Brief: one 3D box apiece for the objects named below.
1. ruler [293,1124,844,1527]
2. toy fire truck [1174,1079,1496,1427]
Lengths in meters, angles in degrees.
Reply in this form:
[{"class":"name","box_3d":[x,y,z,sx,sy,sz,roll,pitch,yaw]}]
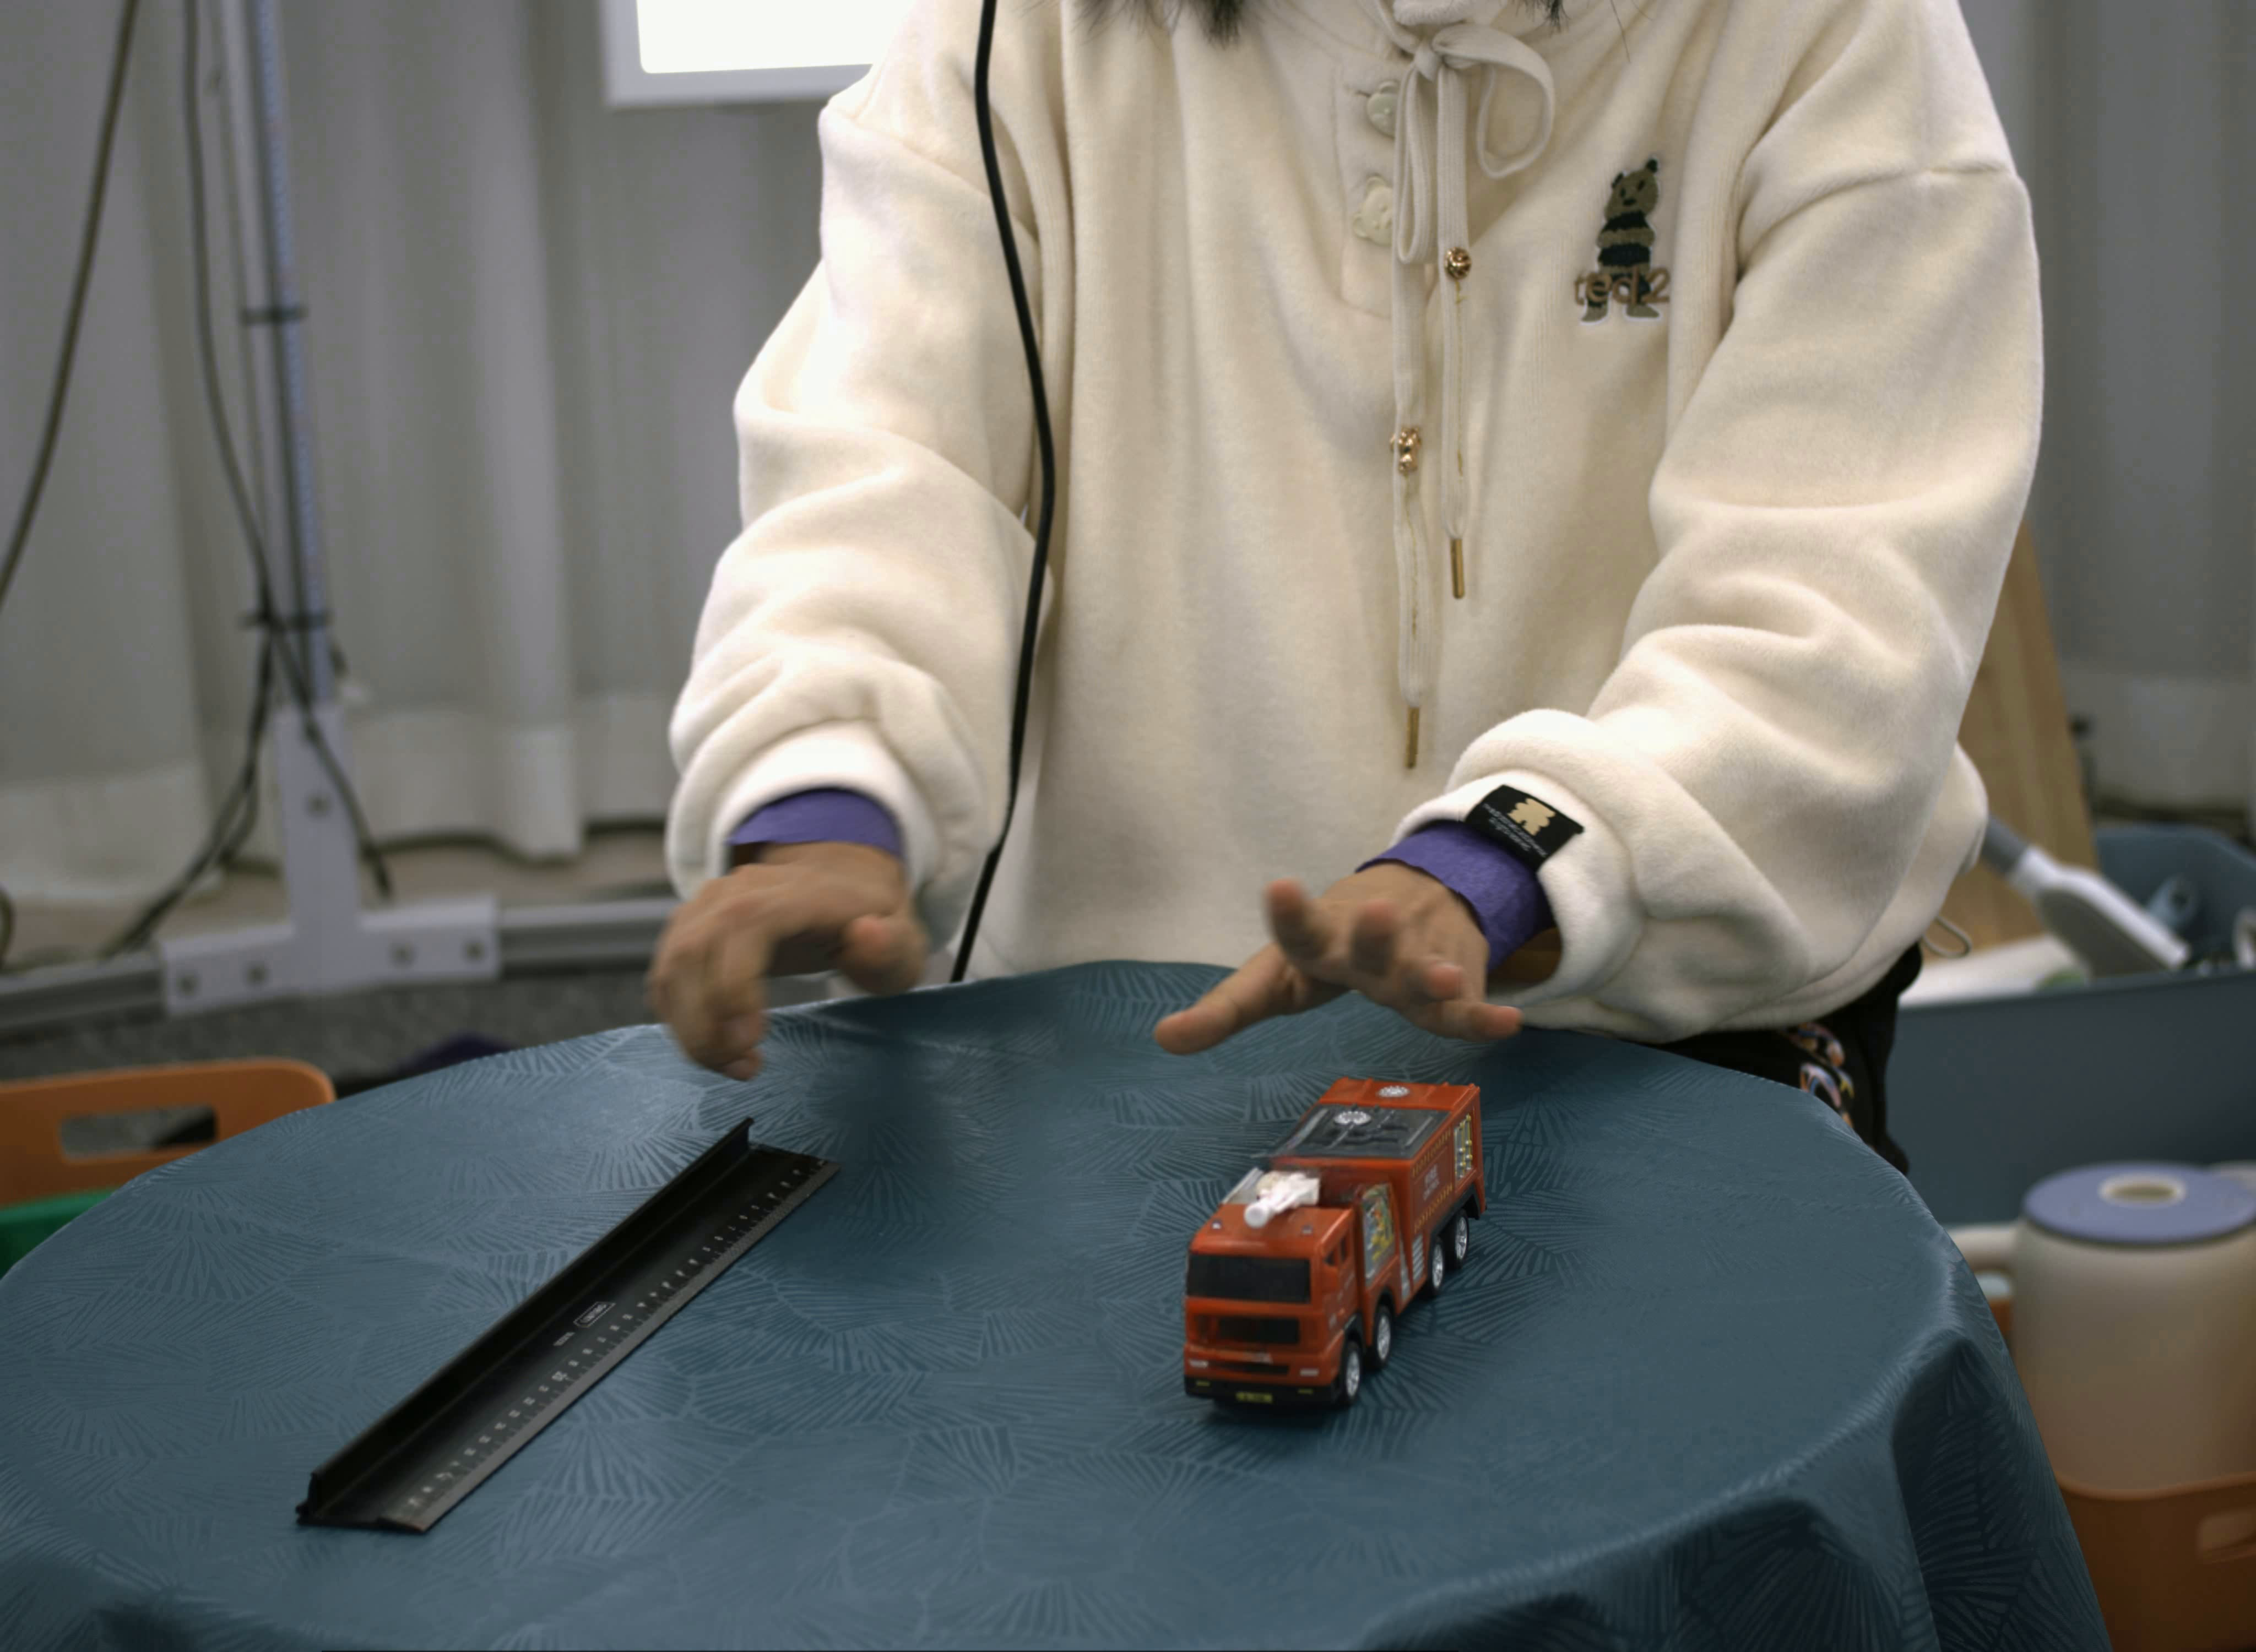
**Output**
[{"class":"ruler","box_3d":[-0.158,0.142,1.610,0.039,0.017,0.313,6,16,18]},{"class":"toy fire truck","box_3d":[0.062,0.119,1.573,0.054,0.070,0.168,2,14,19]}]
